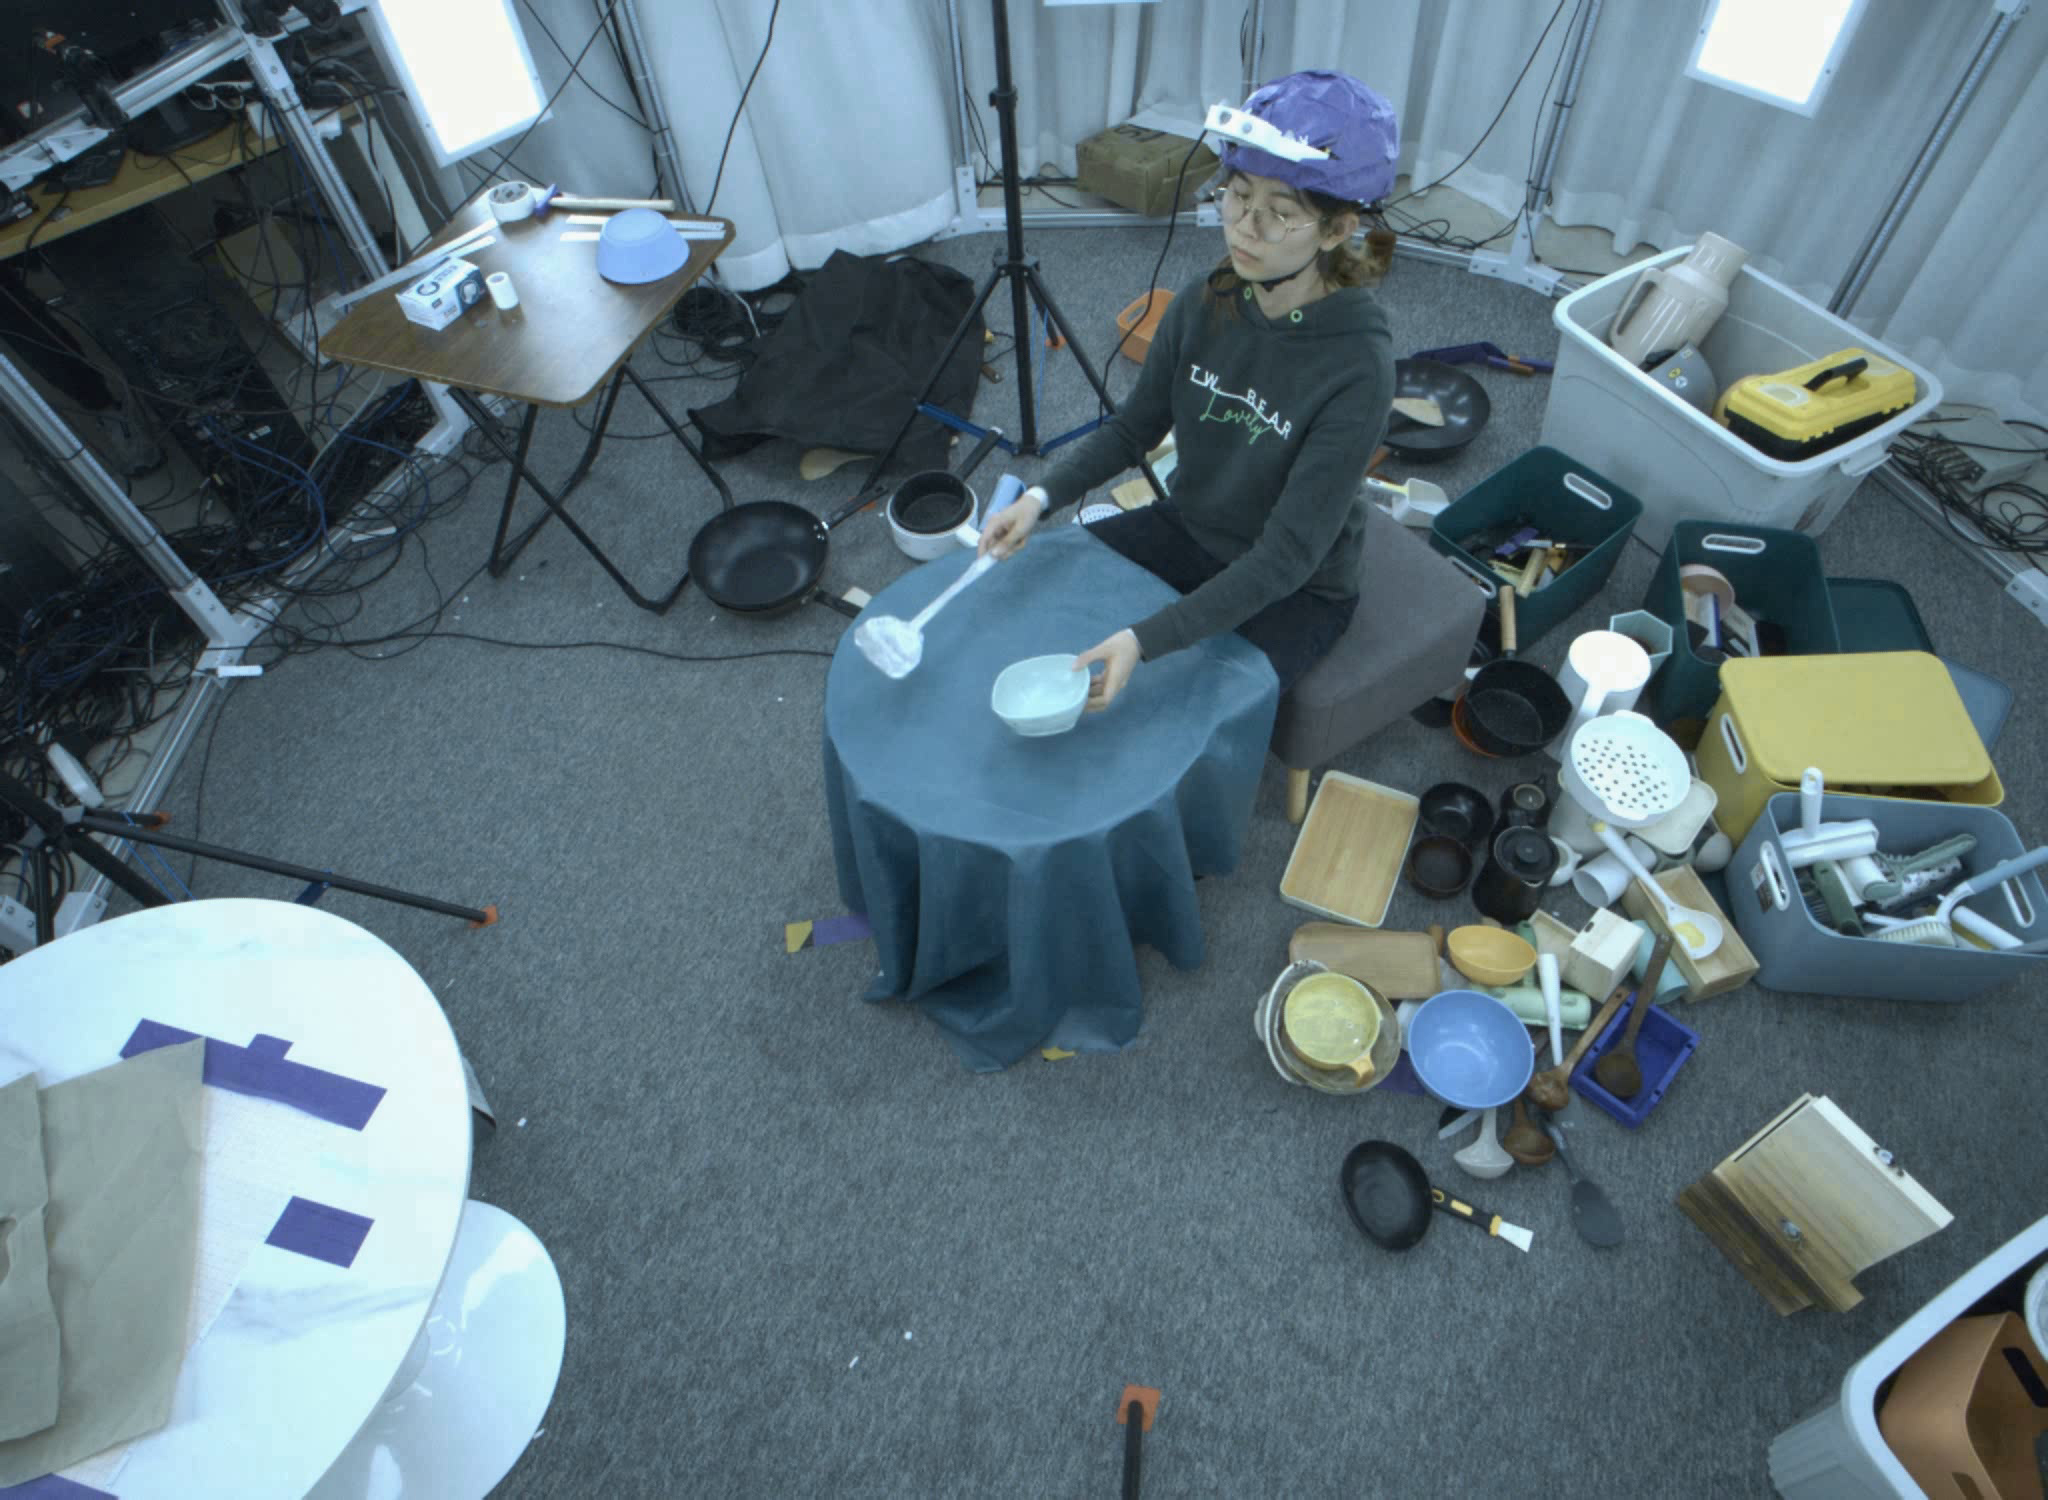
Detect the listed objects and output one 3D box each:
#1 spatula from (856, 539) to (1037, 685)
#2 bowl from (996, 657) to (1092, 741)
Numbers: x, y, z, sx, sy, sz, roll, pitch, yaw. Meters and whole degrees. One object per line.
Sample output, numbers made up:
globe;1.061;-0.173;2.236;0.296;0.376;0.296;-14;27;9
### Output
spatula;-0.104;-0.228;1.851;0.099;0.044;0.367;46;66;0
bowl;0.034;-0.064;1.749;0.150;0.059;0.150;-9;43;10
